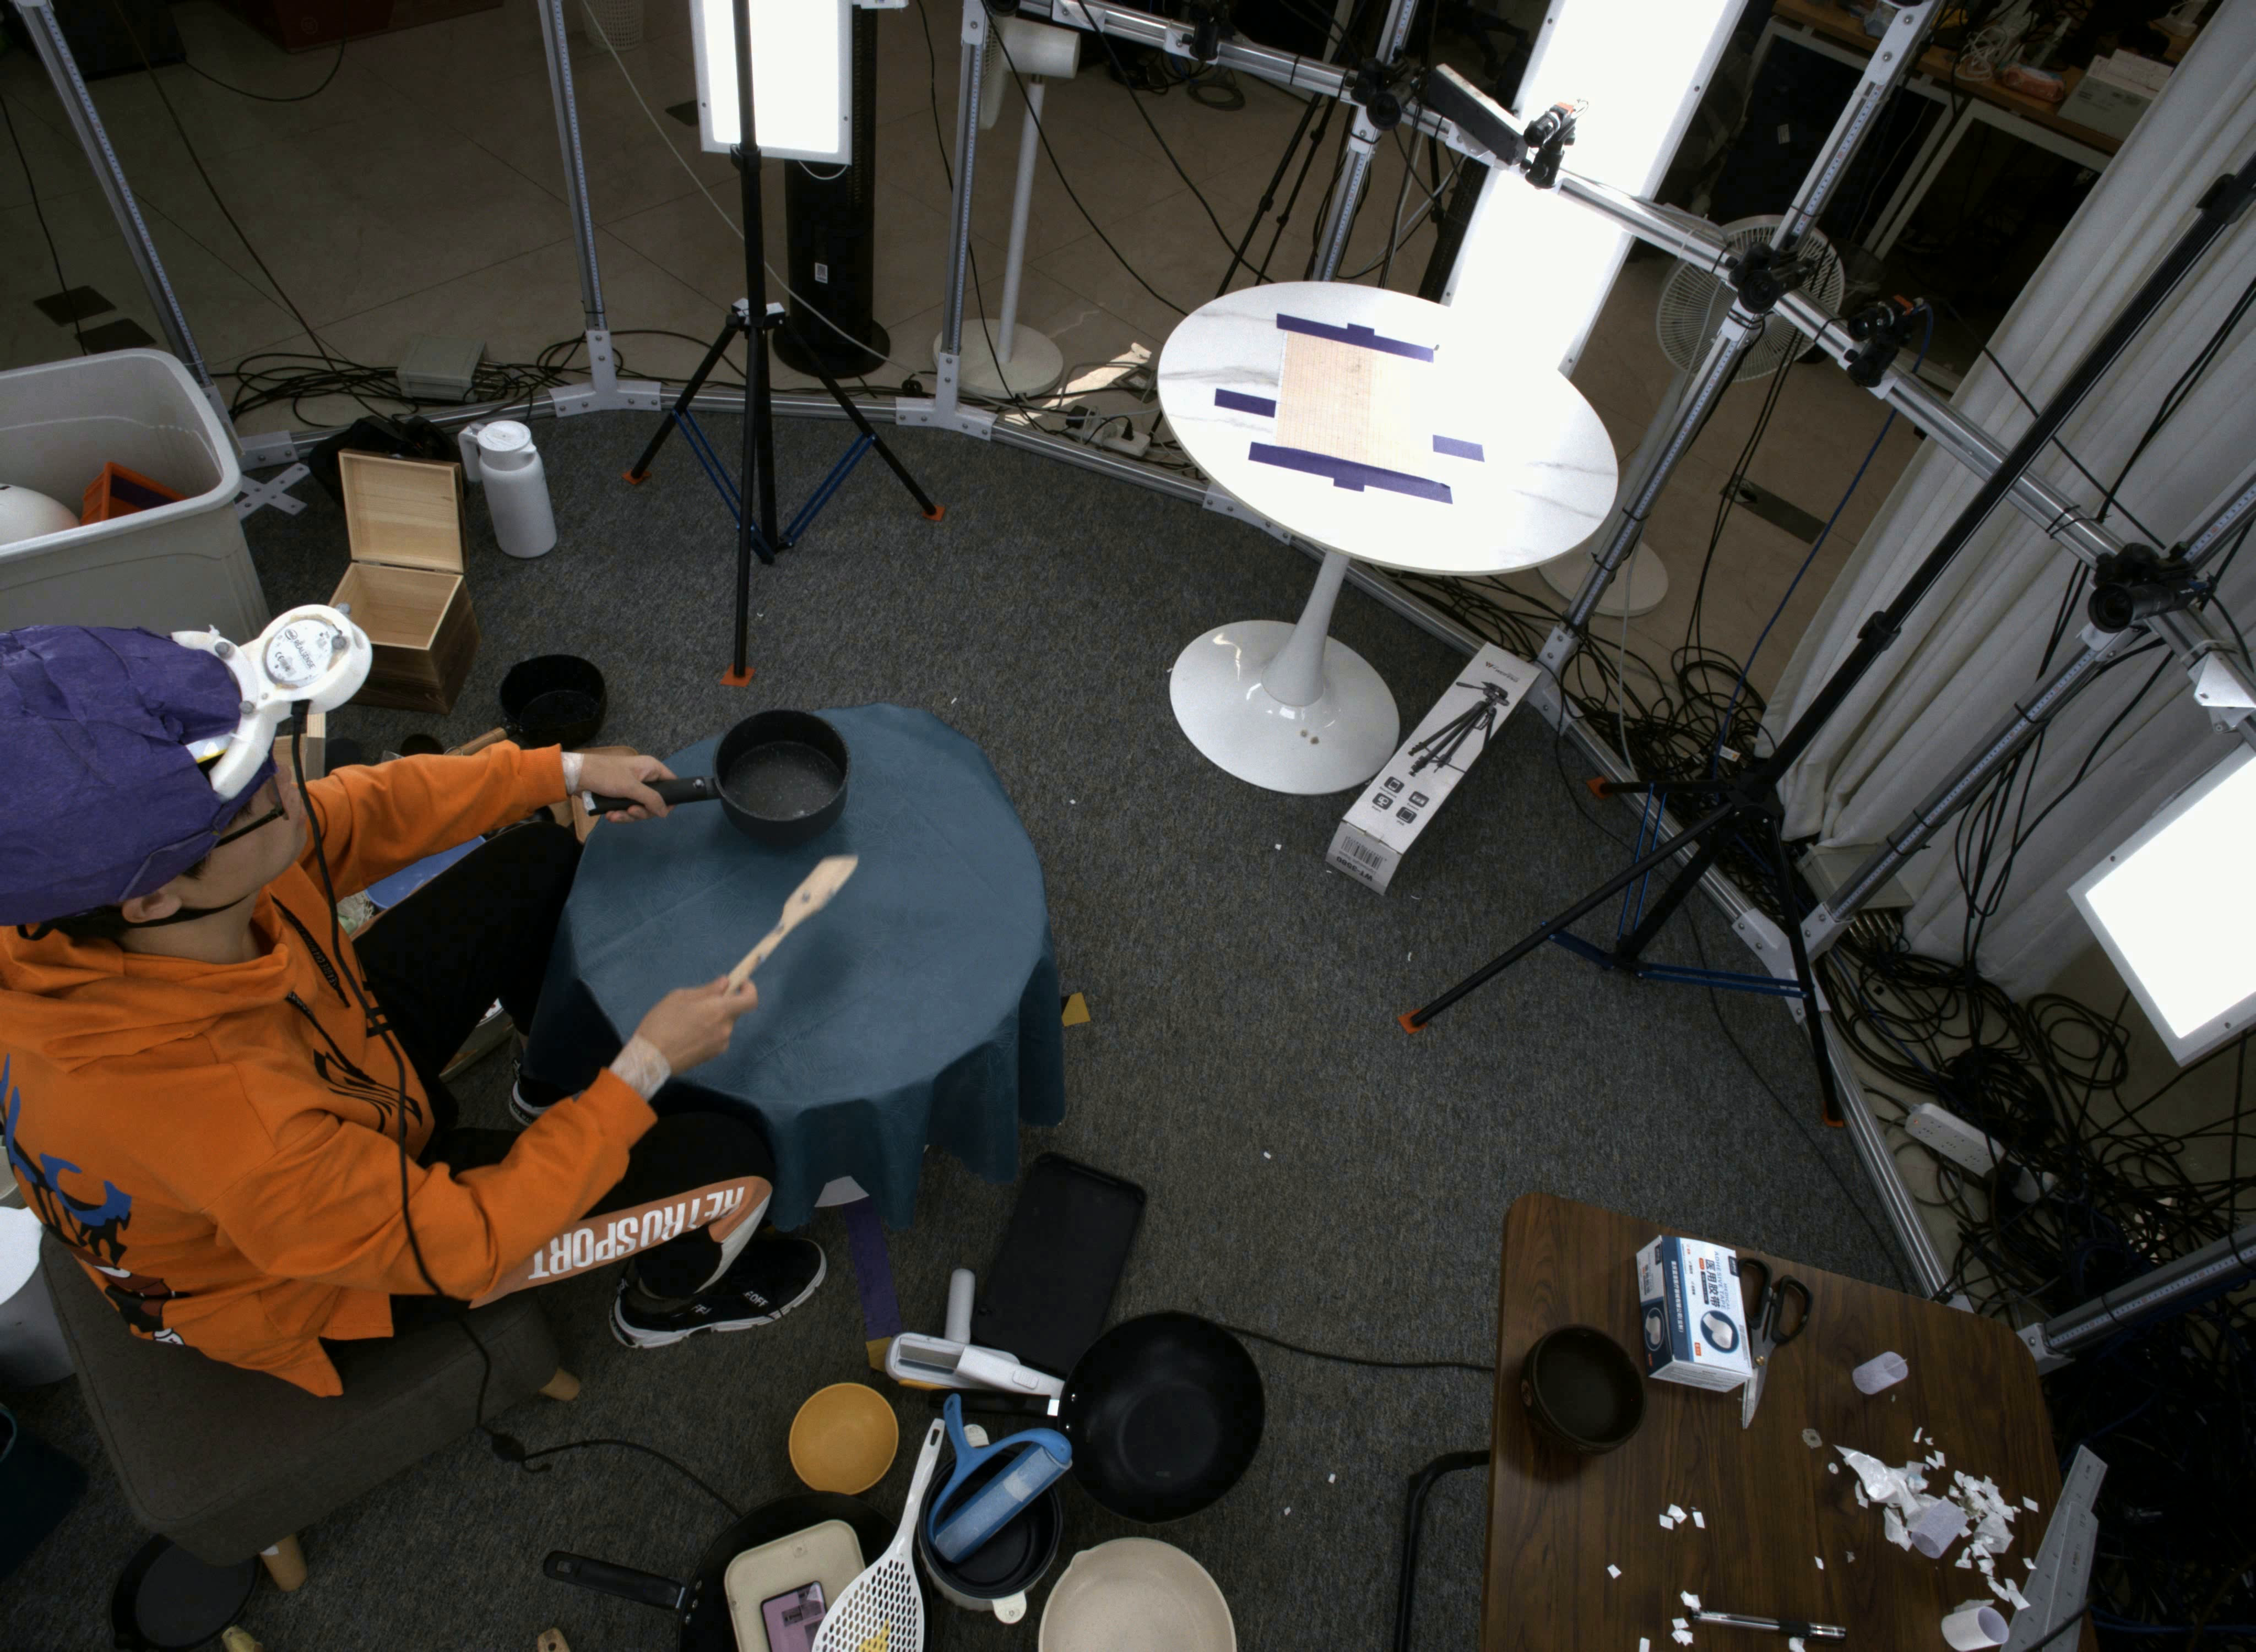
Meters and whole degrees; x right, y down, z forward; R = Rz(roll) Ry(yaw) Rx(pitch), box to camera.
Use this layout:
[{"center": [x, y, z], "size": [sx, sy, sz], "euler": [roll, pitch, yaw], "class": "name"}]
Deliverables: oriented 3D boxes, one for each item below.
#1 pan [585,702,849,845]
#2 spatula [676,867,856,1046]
[{"center": [-0.517, -0.052, 1.622], "size": [0.330, 0.087, 0.169], "euler": [-11, 64, -22], "class": "pan"}, {"center": [-0.415, 0.142, 1.480], "size": [0.070, 0.011, 0.292], "euler": [0, 39, 36], "class": "spatula"}]
